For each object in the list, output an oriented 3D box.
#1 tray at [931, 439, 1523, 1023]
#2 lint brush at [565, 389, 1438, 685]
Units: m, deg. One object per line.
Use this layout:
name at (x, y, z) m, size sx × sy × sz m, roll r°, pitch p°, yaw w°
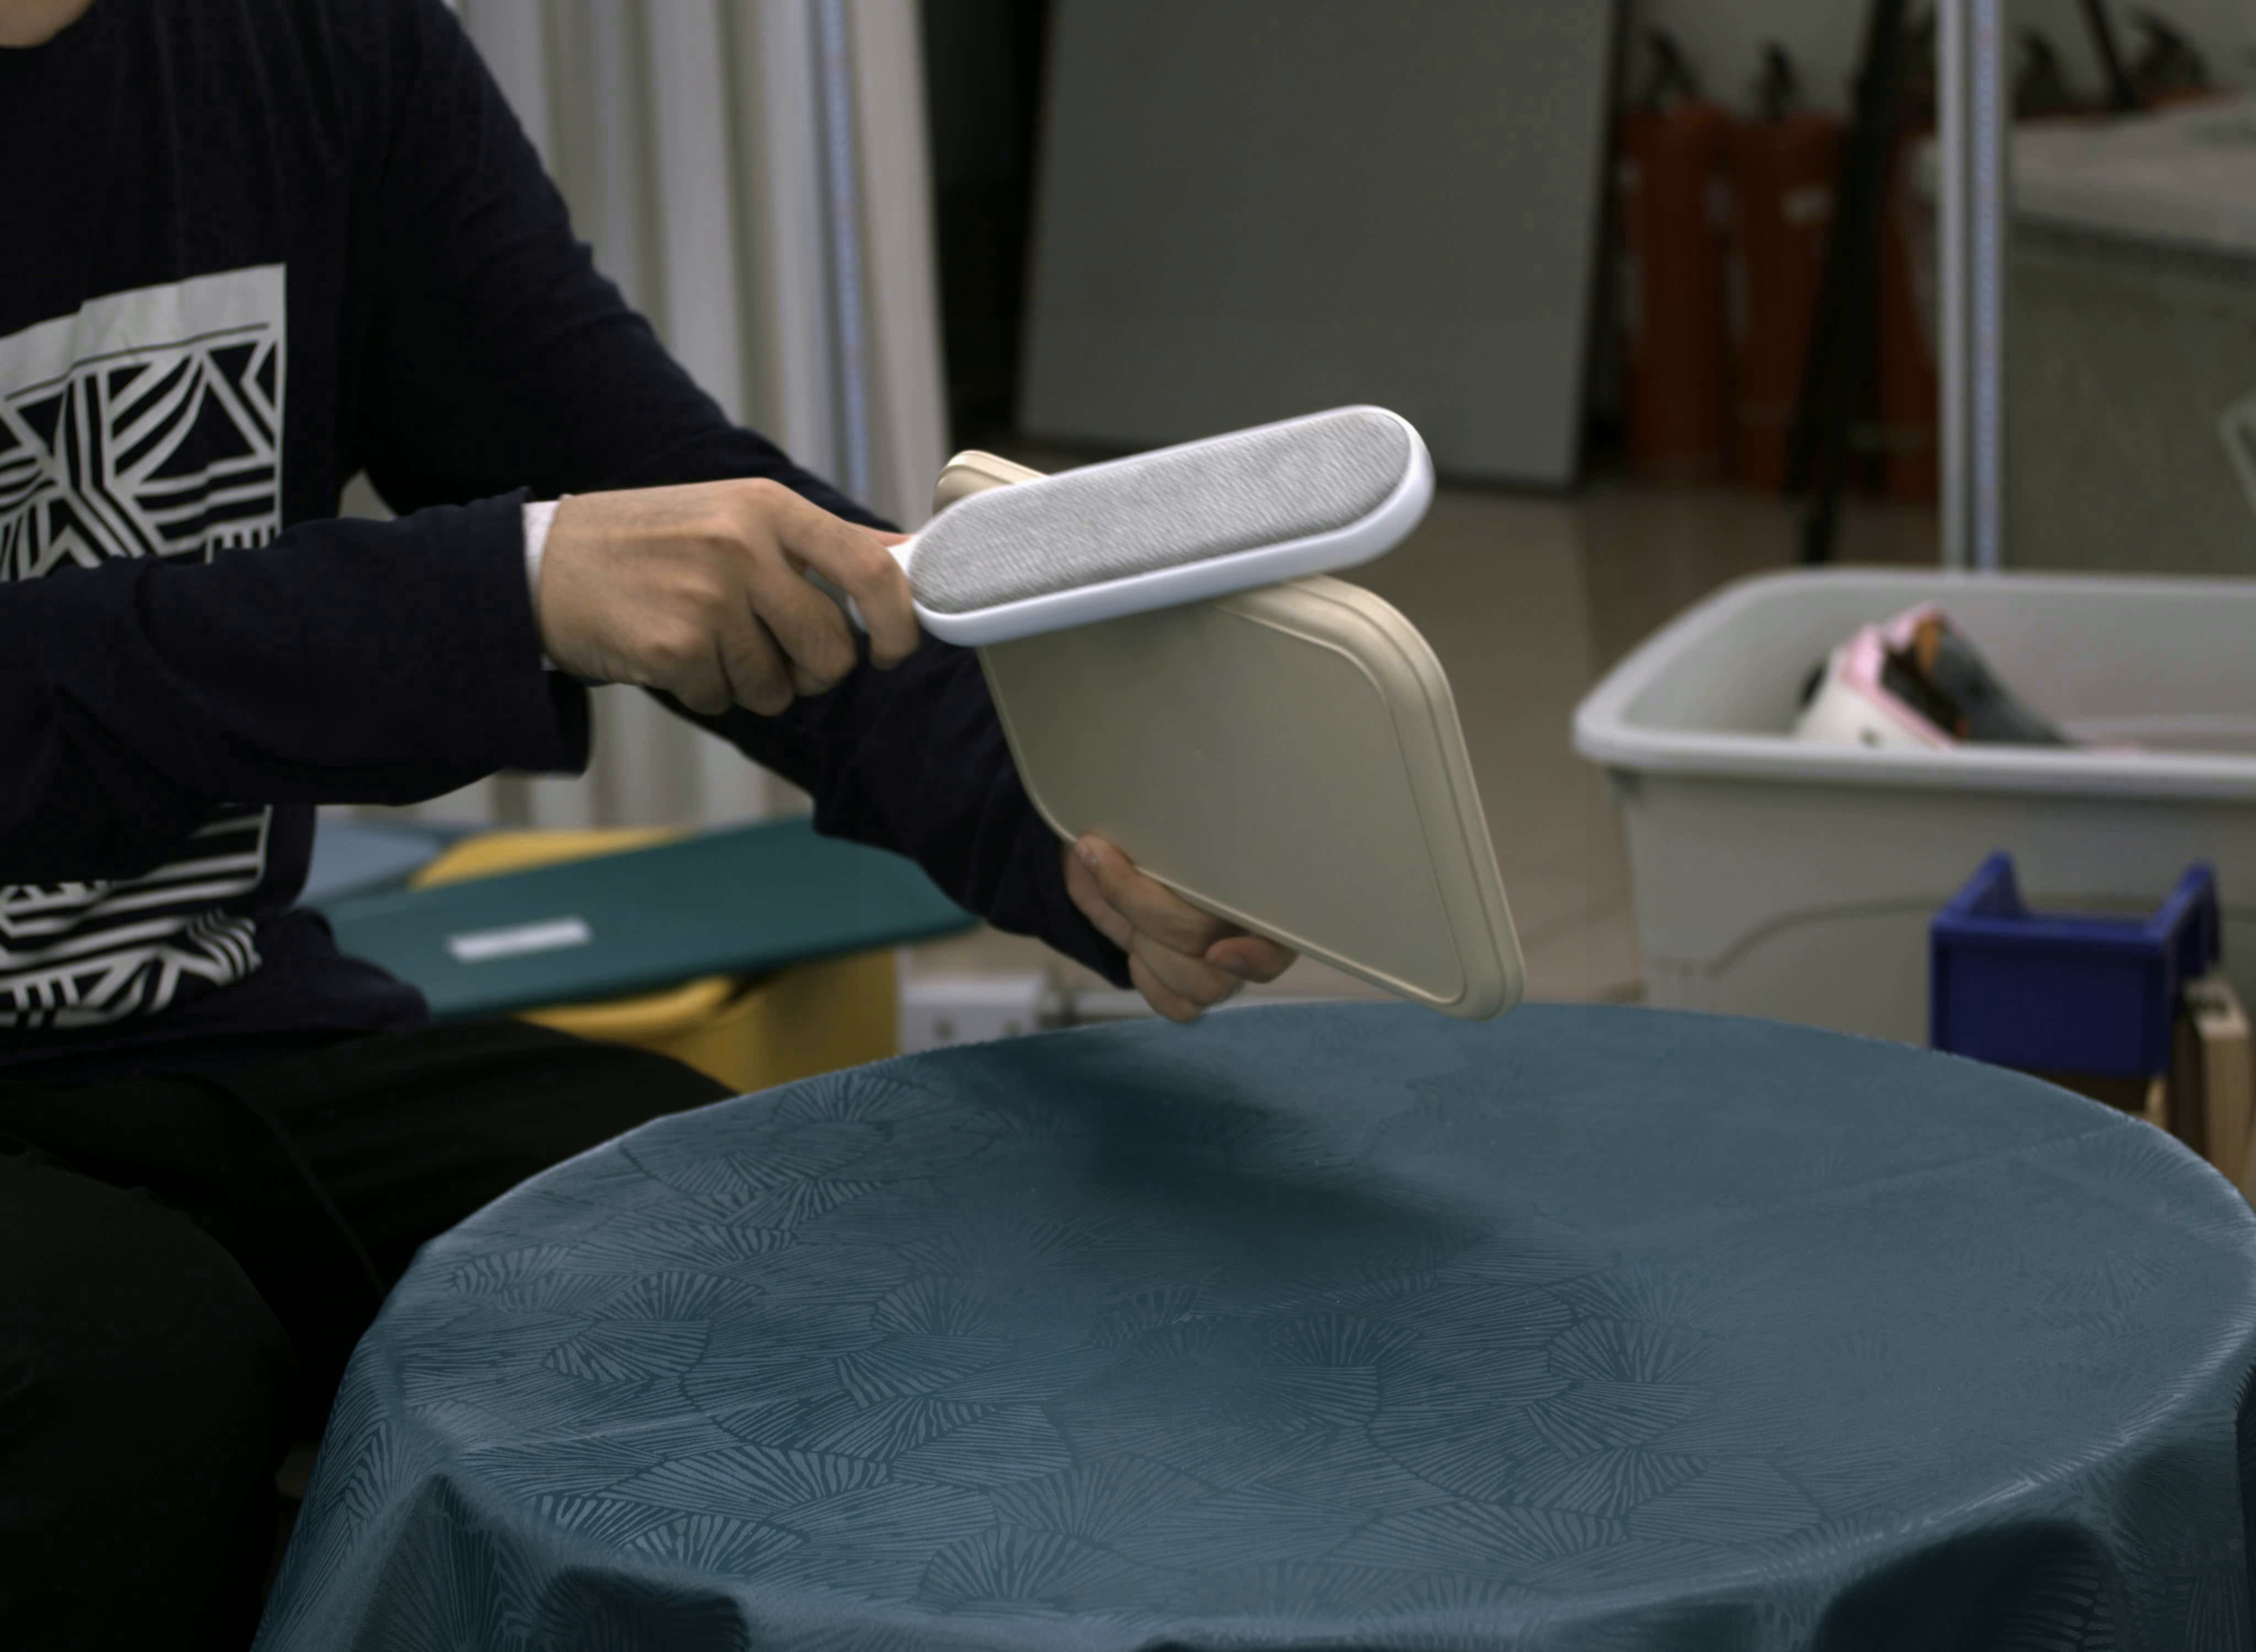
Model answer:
tray at (0.027, -0.029, 1.751) m, size 0.017 × 0.171 × 0.242 m, roll -37°, pitch 38°, yaw -26°
lint brush at (-0.044, -0.086, 1.709) m, size 0.309 × 0.021 × 0.060 m, roll -12°, pitch 52°, yaw 24°
